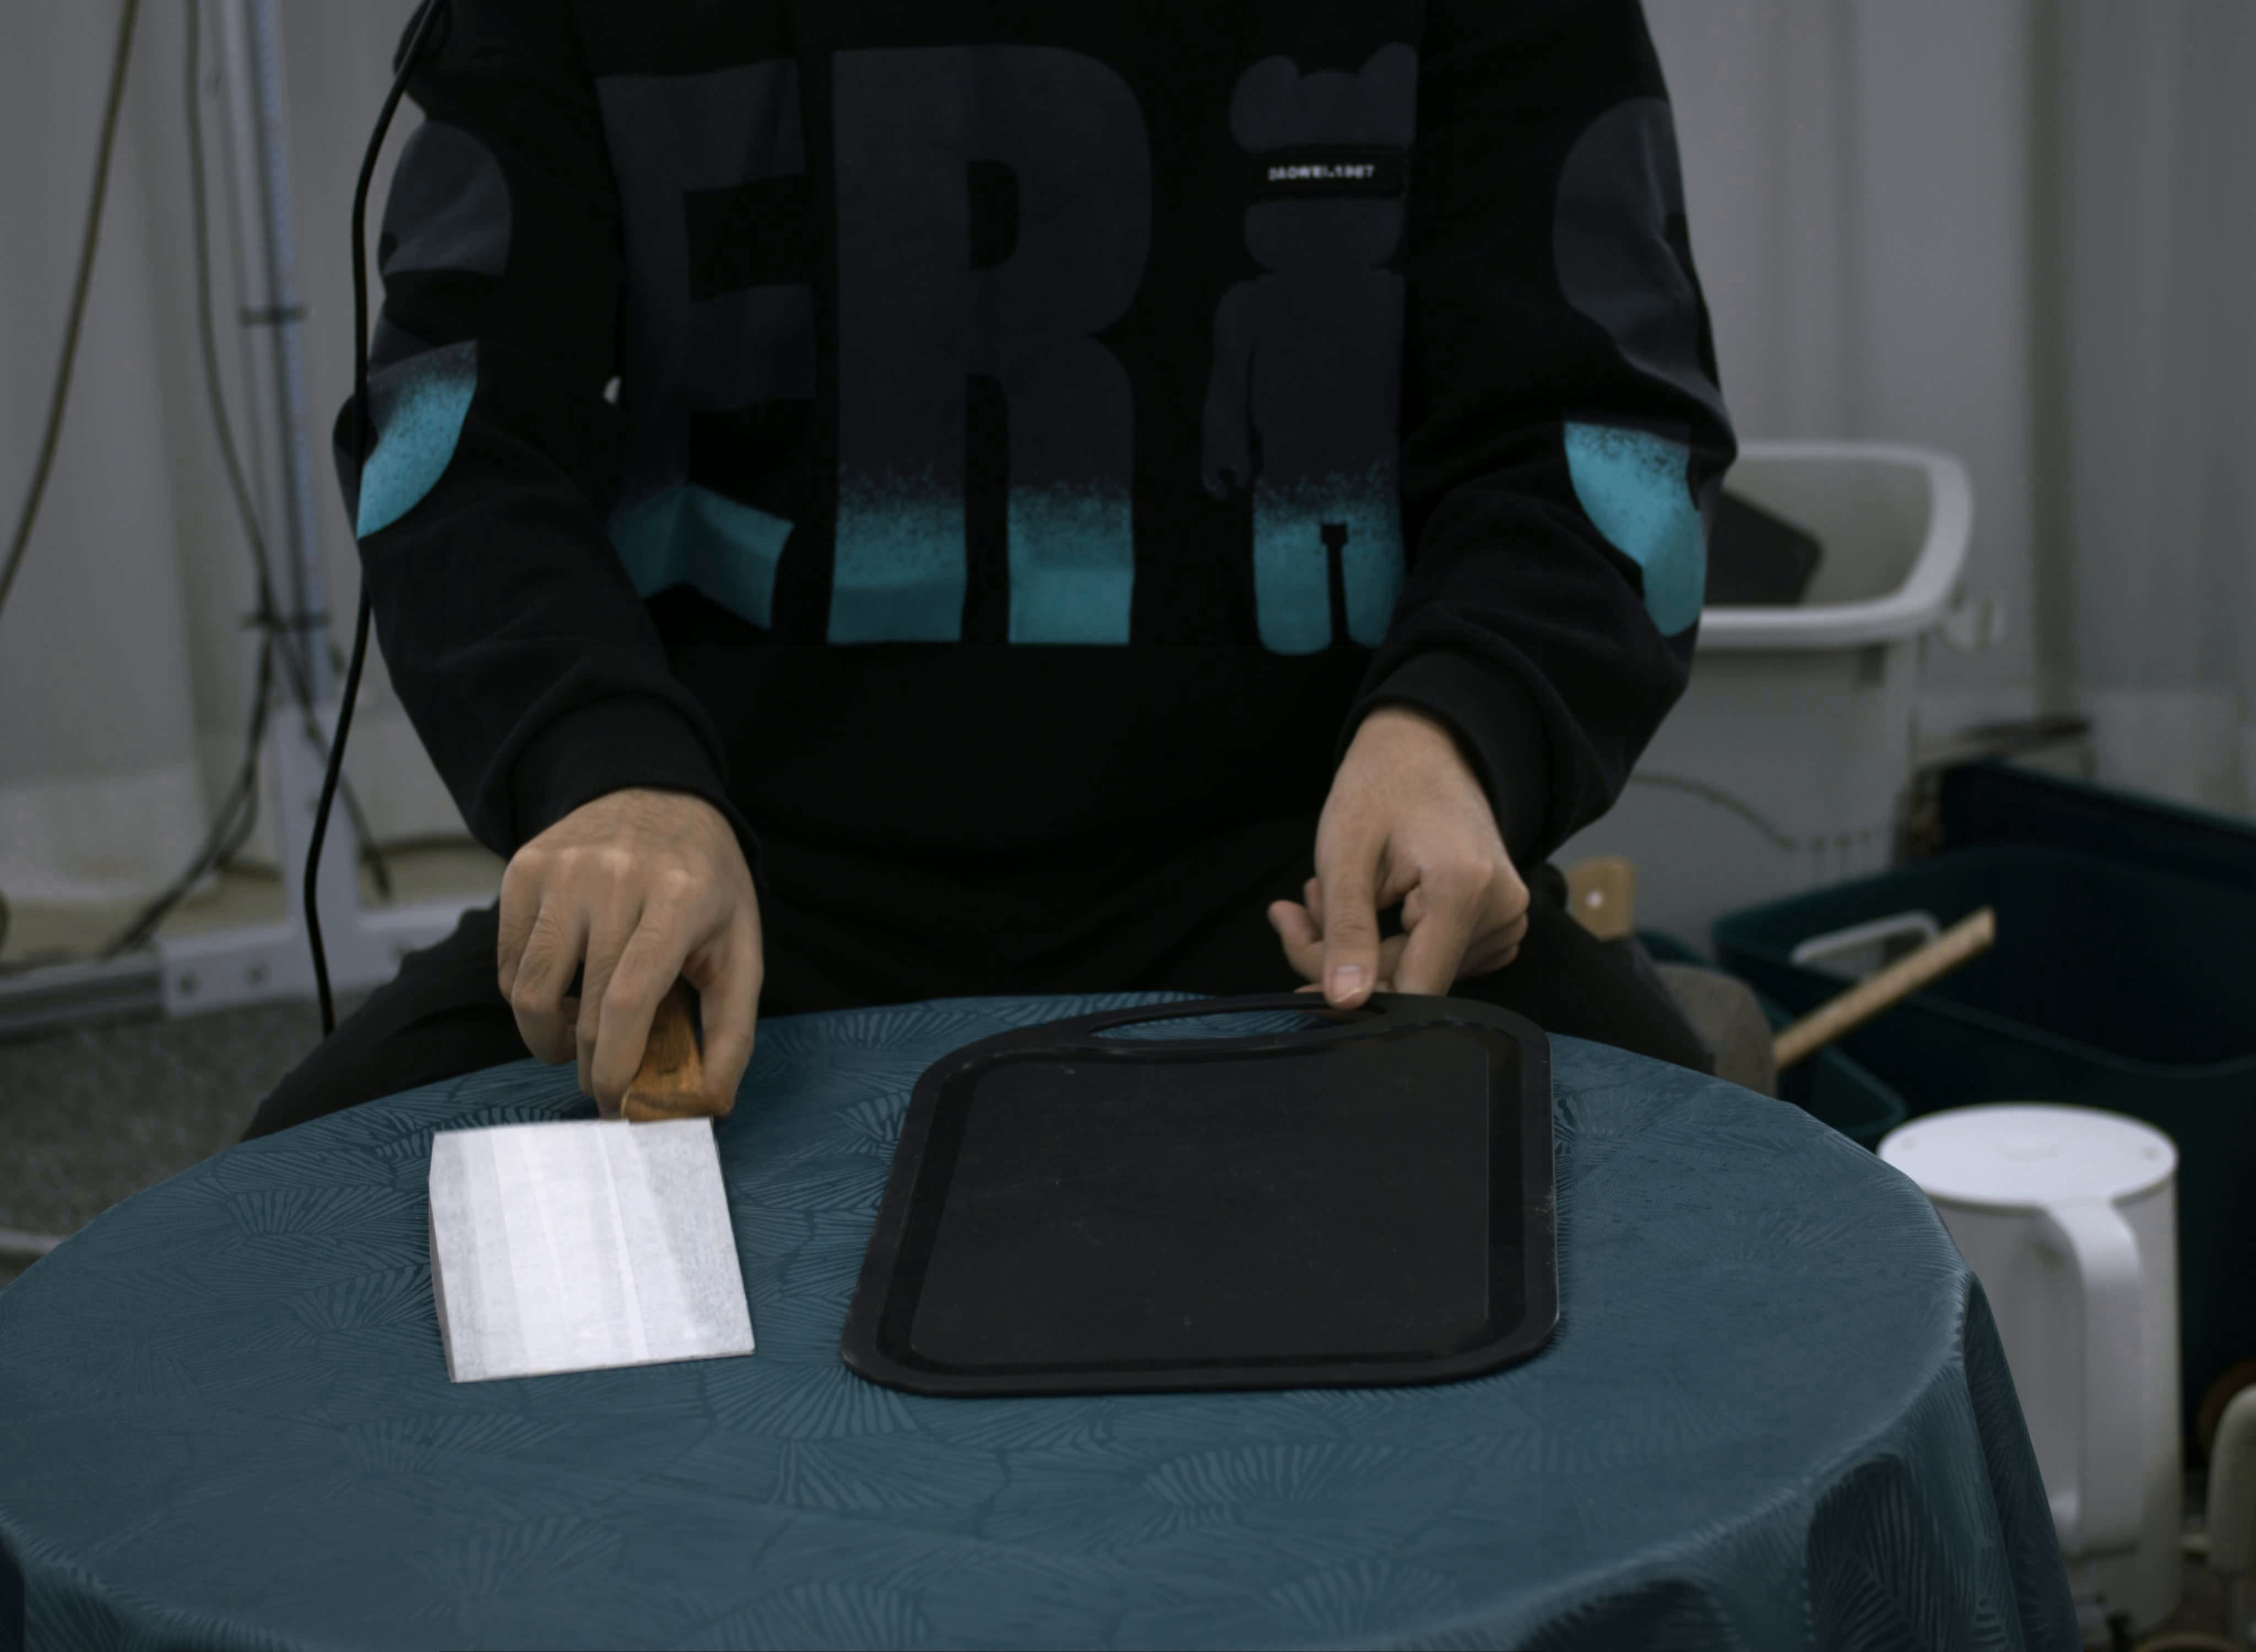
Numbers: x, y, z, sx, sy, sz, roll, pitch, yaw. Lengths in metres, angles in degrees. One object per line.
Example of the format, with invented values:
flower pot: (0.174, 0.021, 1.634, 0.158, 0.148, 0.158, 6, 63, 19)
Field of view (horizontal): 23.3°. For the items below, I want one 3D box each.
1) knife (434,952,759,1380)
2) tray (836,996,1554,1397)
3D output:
knife: (-0.172, 0.105, 1.726, 0.092, 0.021, 0.309, -6, 21, -7)
tray: (0.027, 0.108, 1.696, 0.210, 0.010, 0.328, -2, 18, 5)
